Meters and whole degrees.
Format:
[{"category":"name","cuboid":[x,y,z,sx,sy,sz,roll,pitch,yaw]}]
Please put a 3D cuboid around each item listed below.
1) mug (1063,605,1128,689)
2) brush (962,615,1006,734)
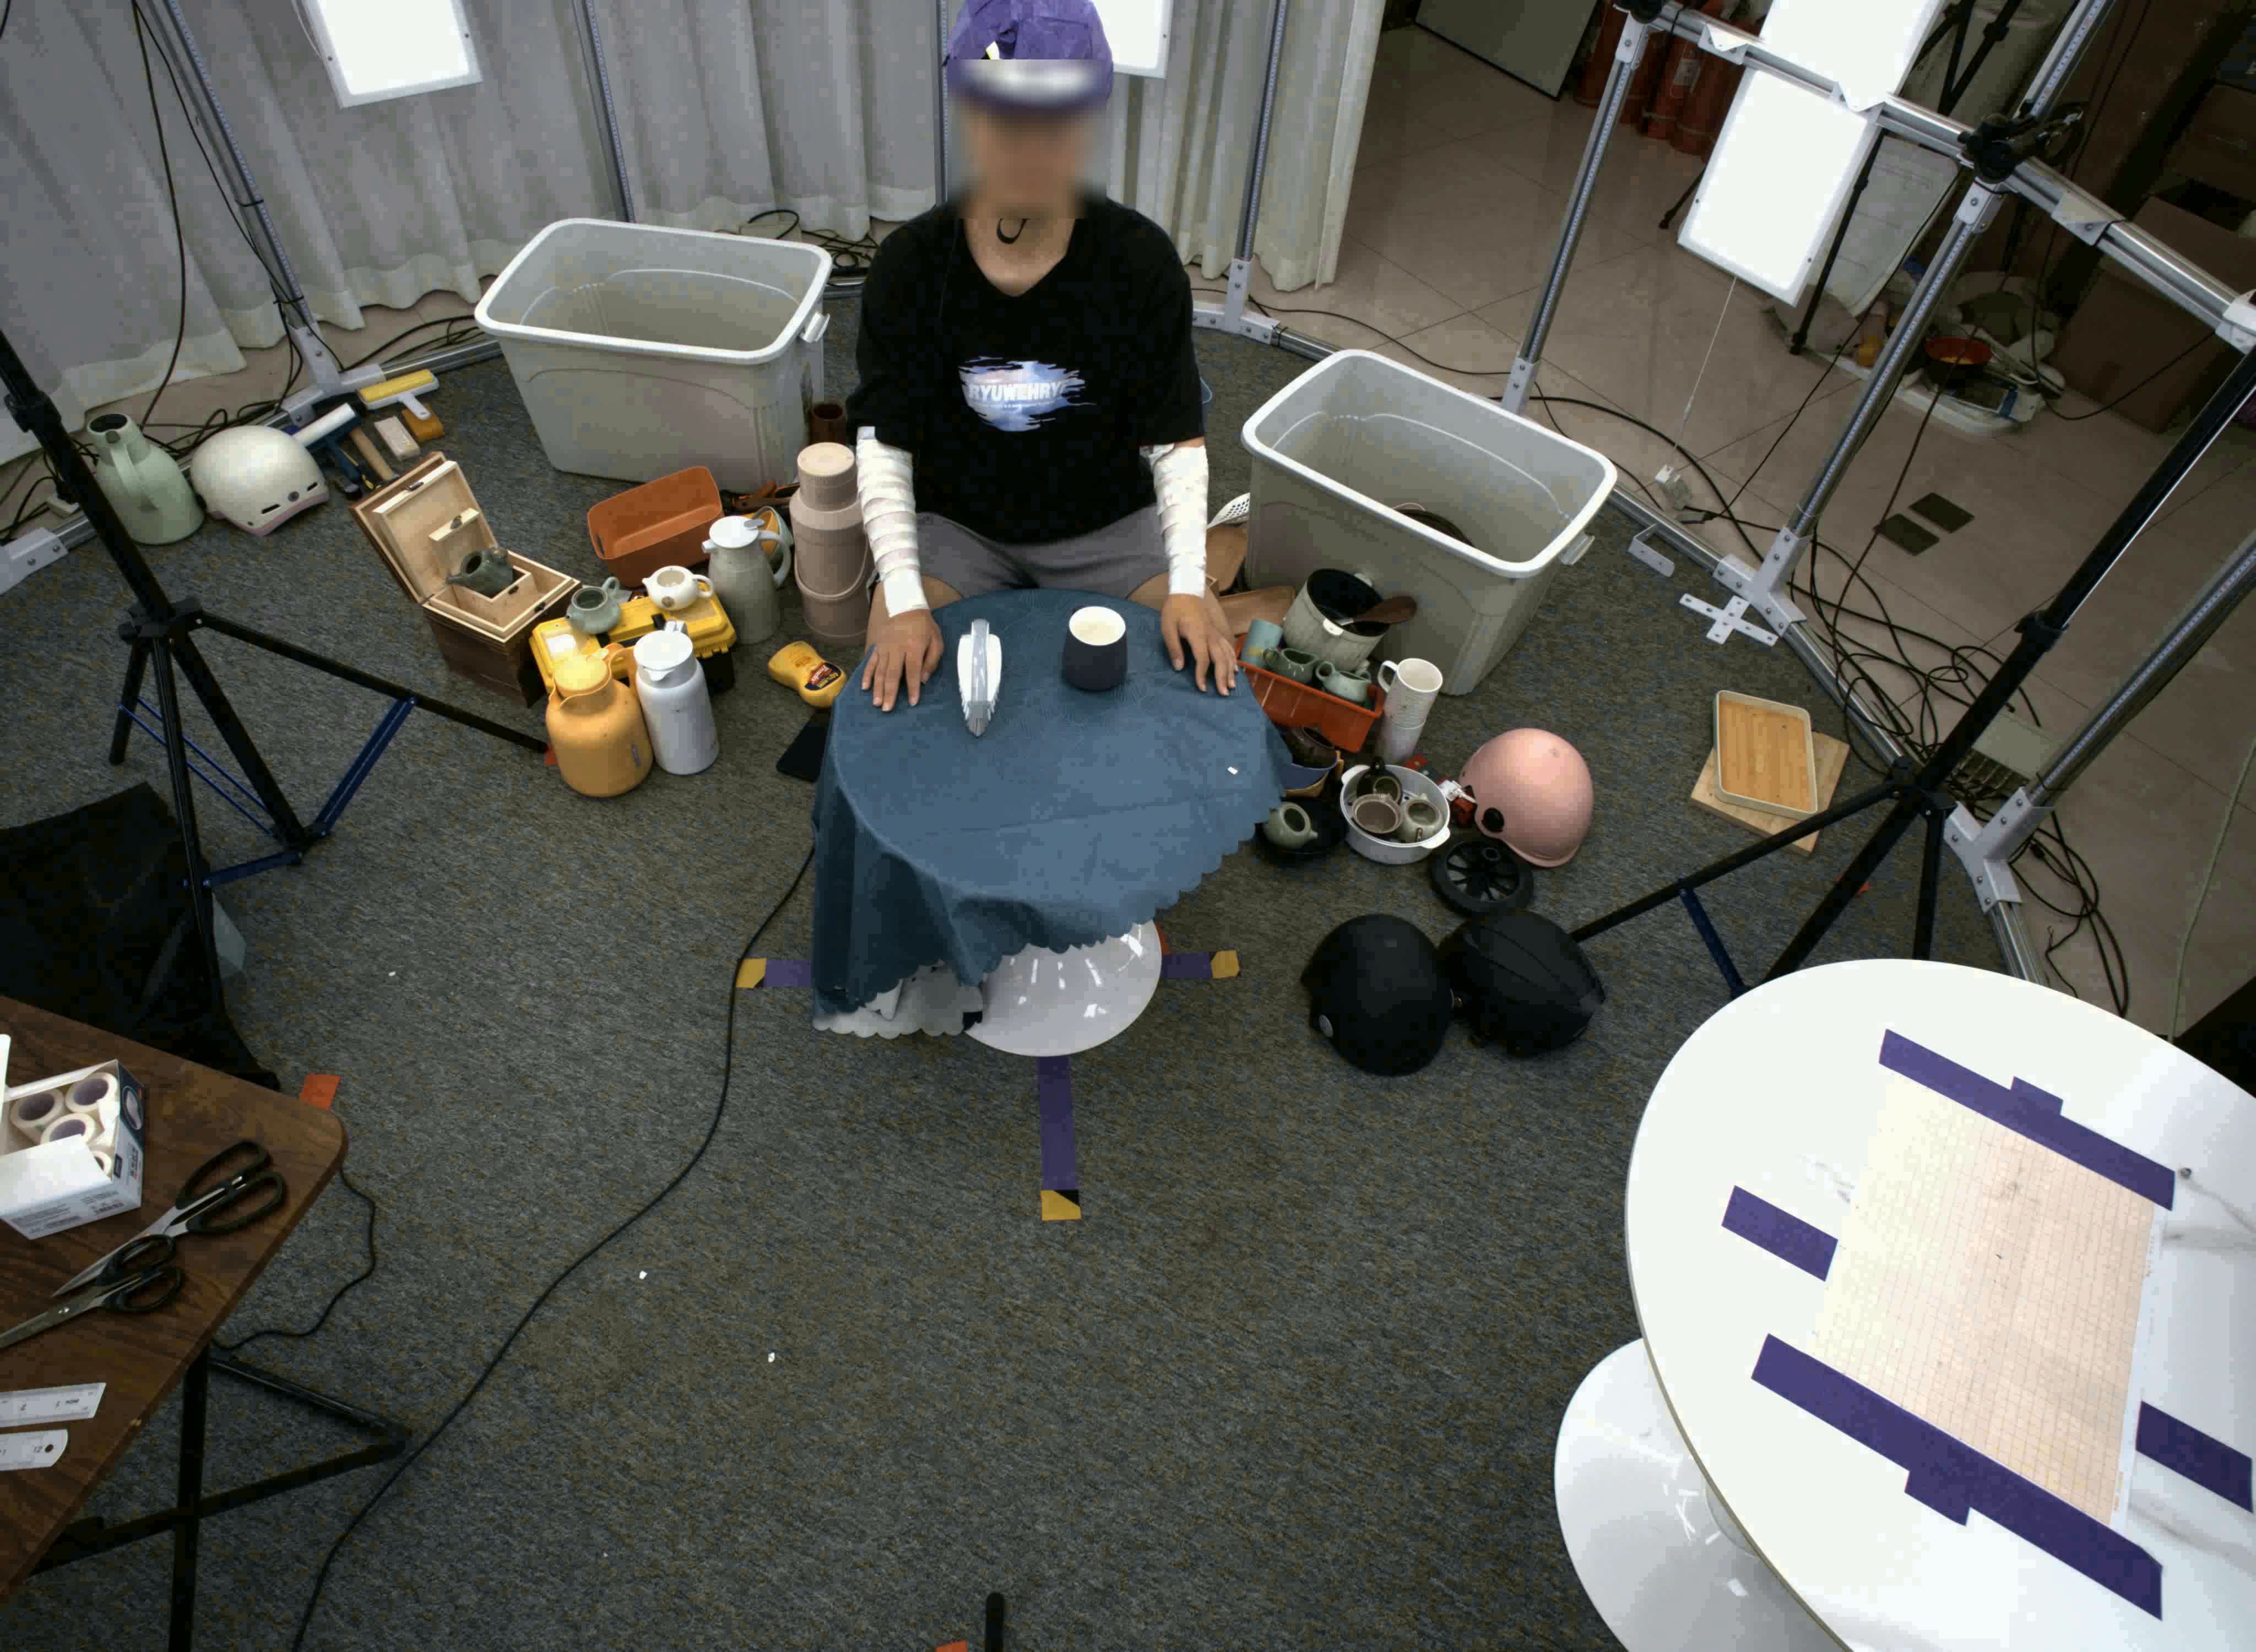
[{"category":"mug","cuboid":[-0.050,-0.265,1.839,0.093,0.088,0.126,-14,52,-16]},{"category":"brush","cuboid":[-0.202,-0.220,1.791,0.061,0.092,0.180,0,51,-2]}]
